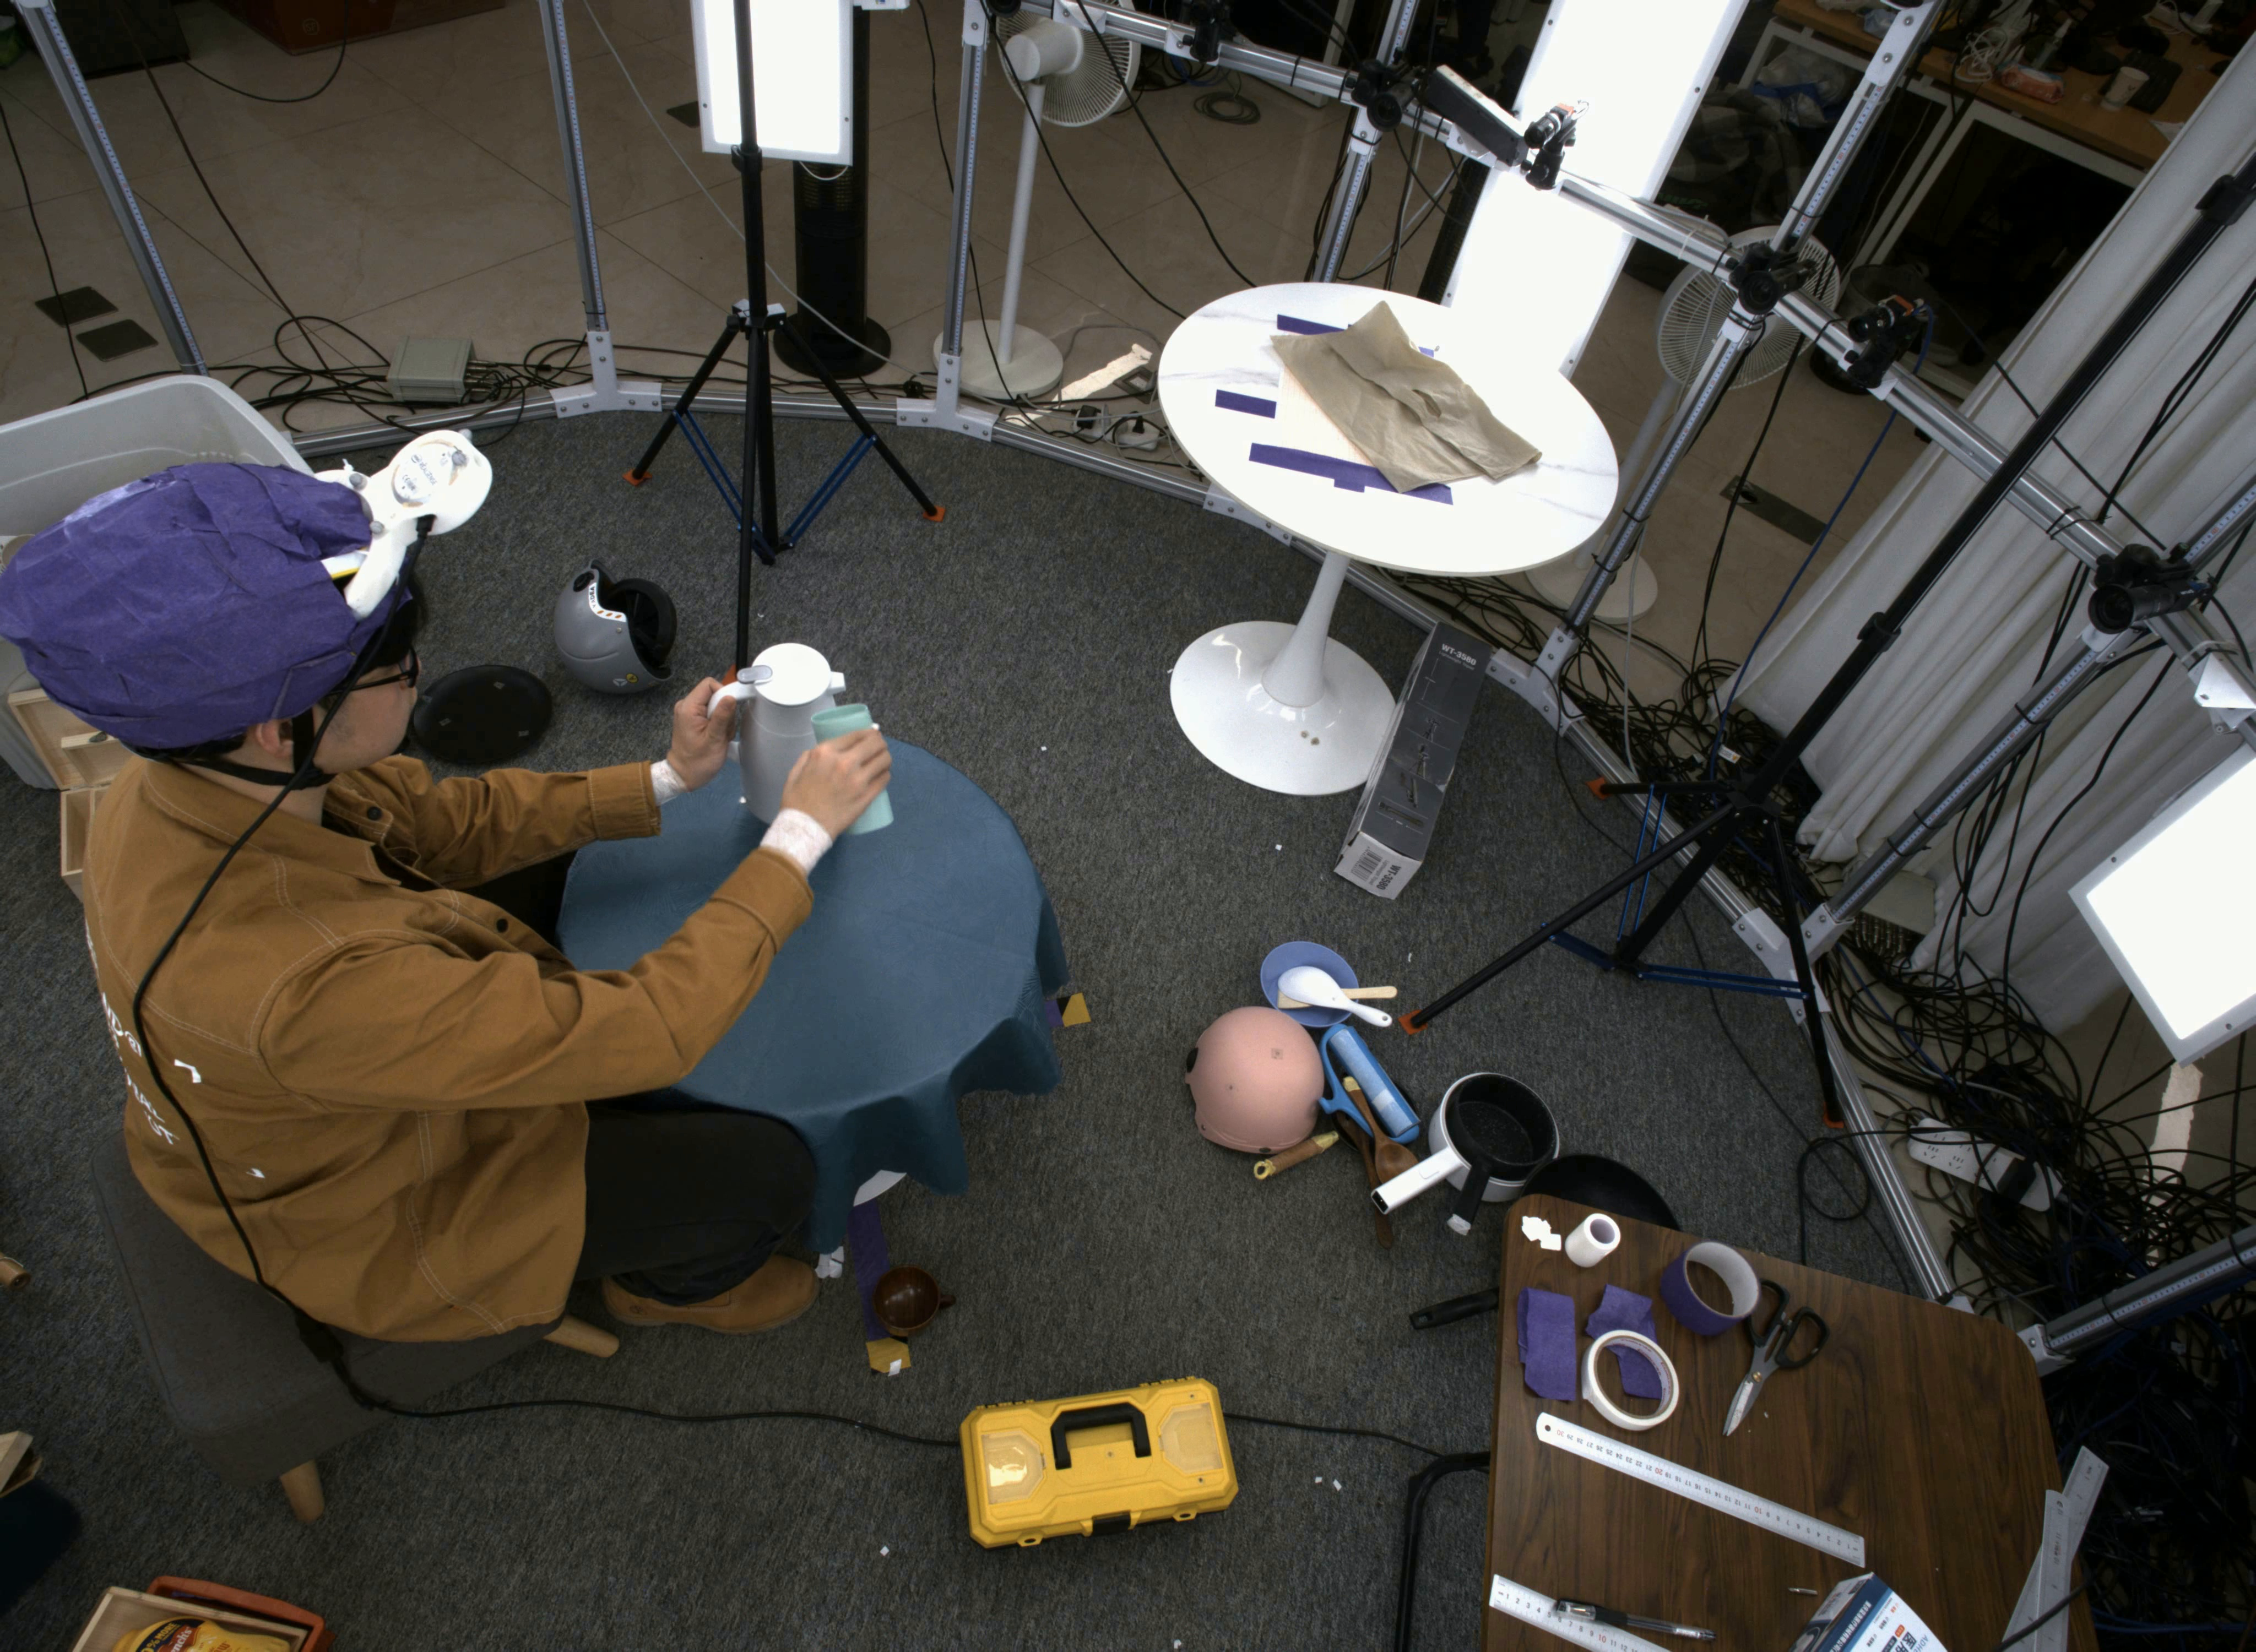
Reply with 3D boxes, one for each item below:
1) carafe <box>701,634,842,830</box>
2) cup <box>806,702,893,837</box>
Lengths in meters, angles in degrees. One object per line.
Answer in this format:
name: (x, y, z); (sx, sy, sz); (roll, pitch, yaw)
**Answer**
carafe: (-0.433, -0.117, 1.578); (0.168, 0.253, 0.130); (-5, 59, -16)
cup: (-0.304, -0.063, 1.420); (0.066, 0.136, 0.065); (-9, 22, 5)
